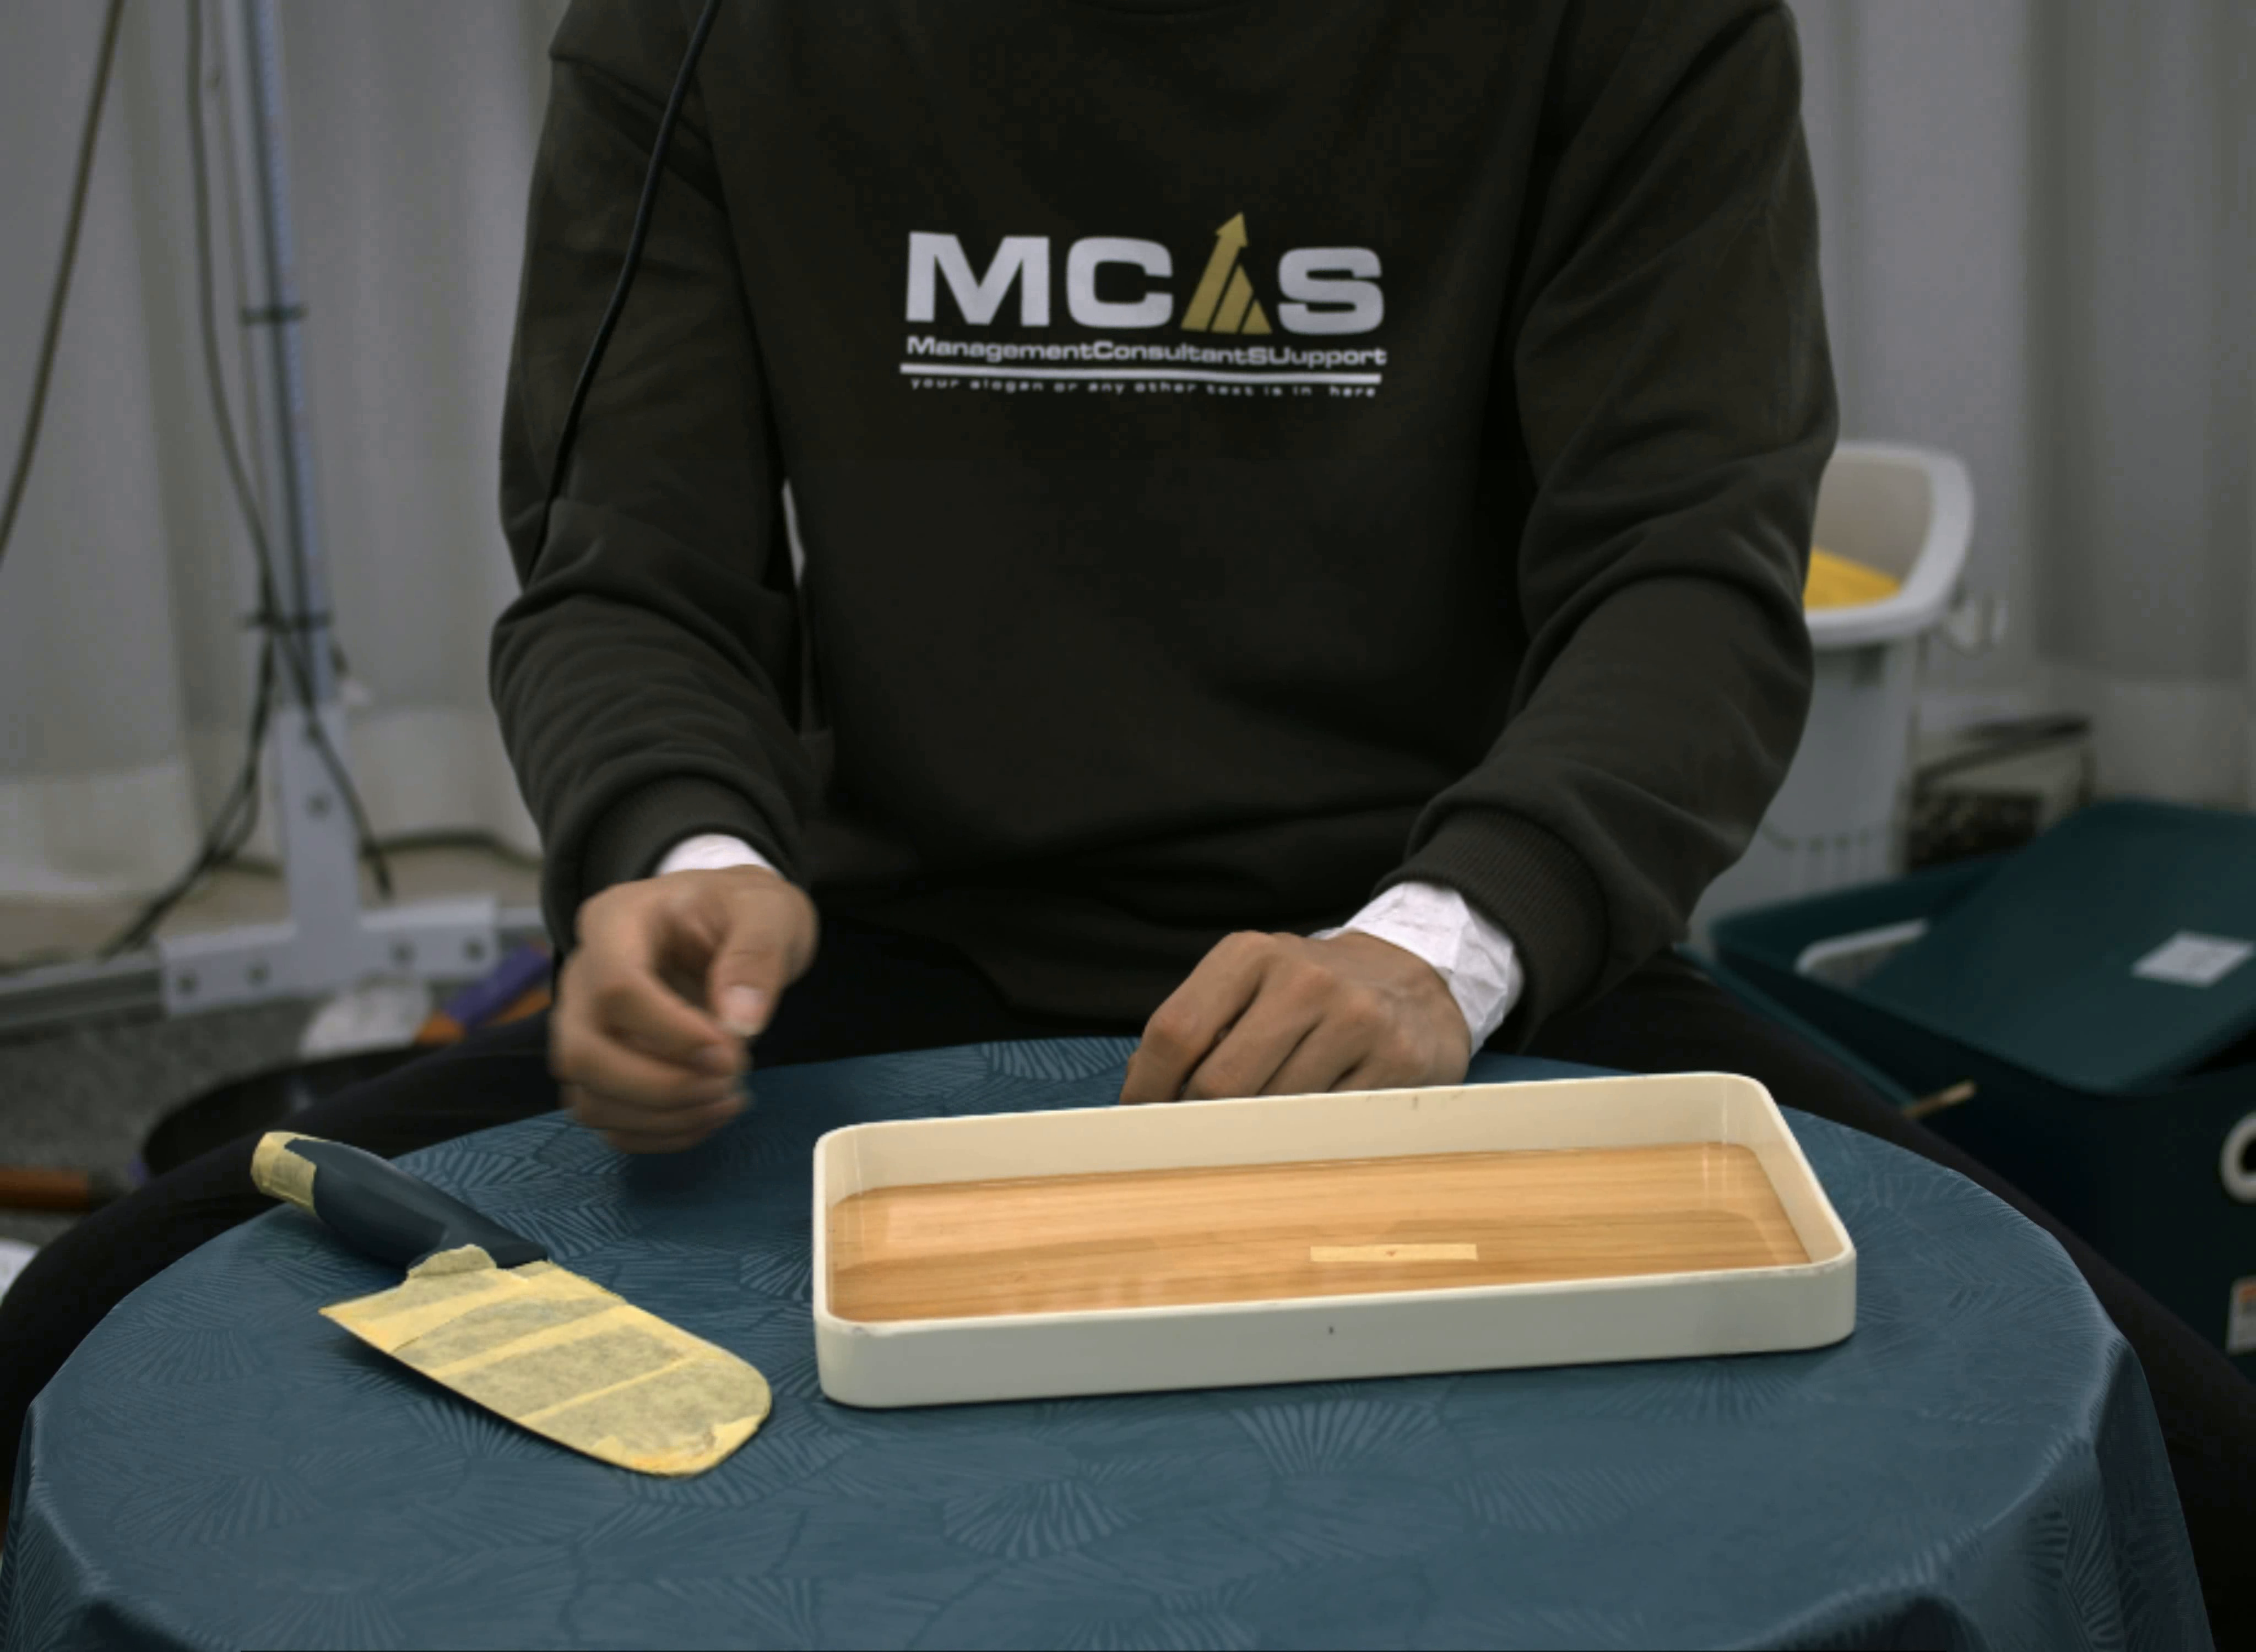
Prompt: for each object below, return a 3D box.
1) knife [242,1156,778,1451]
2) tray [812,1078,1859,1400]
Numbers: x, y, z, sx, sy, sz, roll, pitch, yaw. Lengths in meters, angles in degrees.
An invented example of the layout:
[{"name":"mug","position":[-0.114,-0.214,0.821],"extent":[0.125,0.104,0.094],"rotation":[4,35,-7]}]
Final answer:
[{"name":"knife","position":[-0.195,0.143,1.619],"extent":[0.081,0.027,0.291],"rotation":[-11,18,-35]},{"name":"tray","position":[0.056,0.121,1.631],"extent":[0.299,0.027,0.193],"rotation":[-3,14,-2]}]
